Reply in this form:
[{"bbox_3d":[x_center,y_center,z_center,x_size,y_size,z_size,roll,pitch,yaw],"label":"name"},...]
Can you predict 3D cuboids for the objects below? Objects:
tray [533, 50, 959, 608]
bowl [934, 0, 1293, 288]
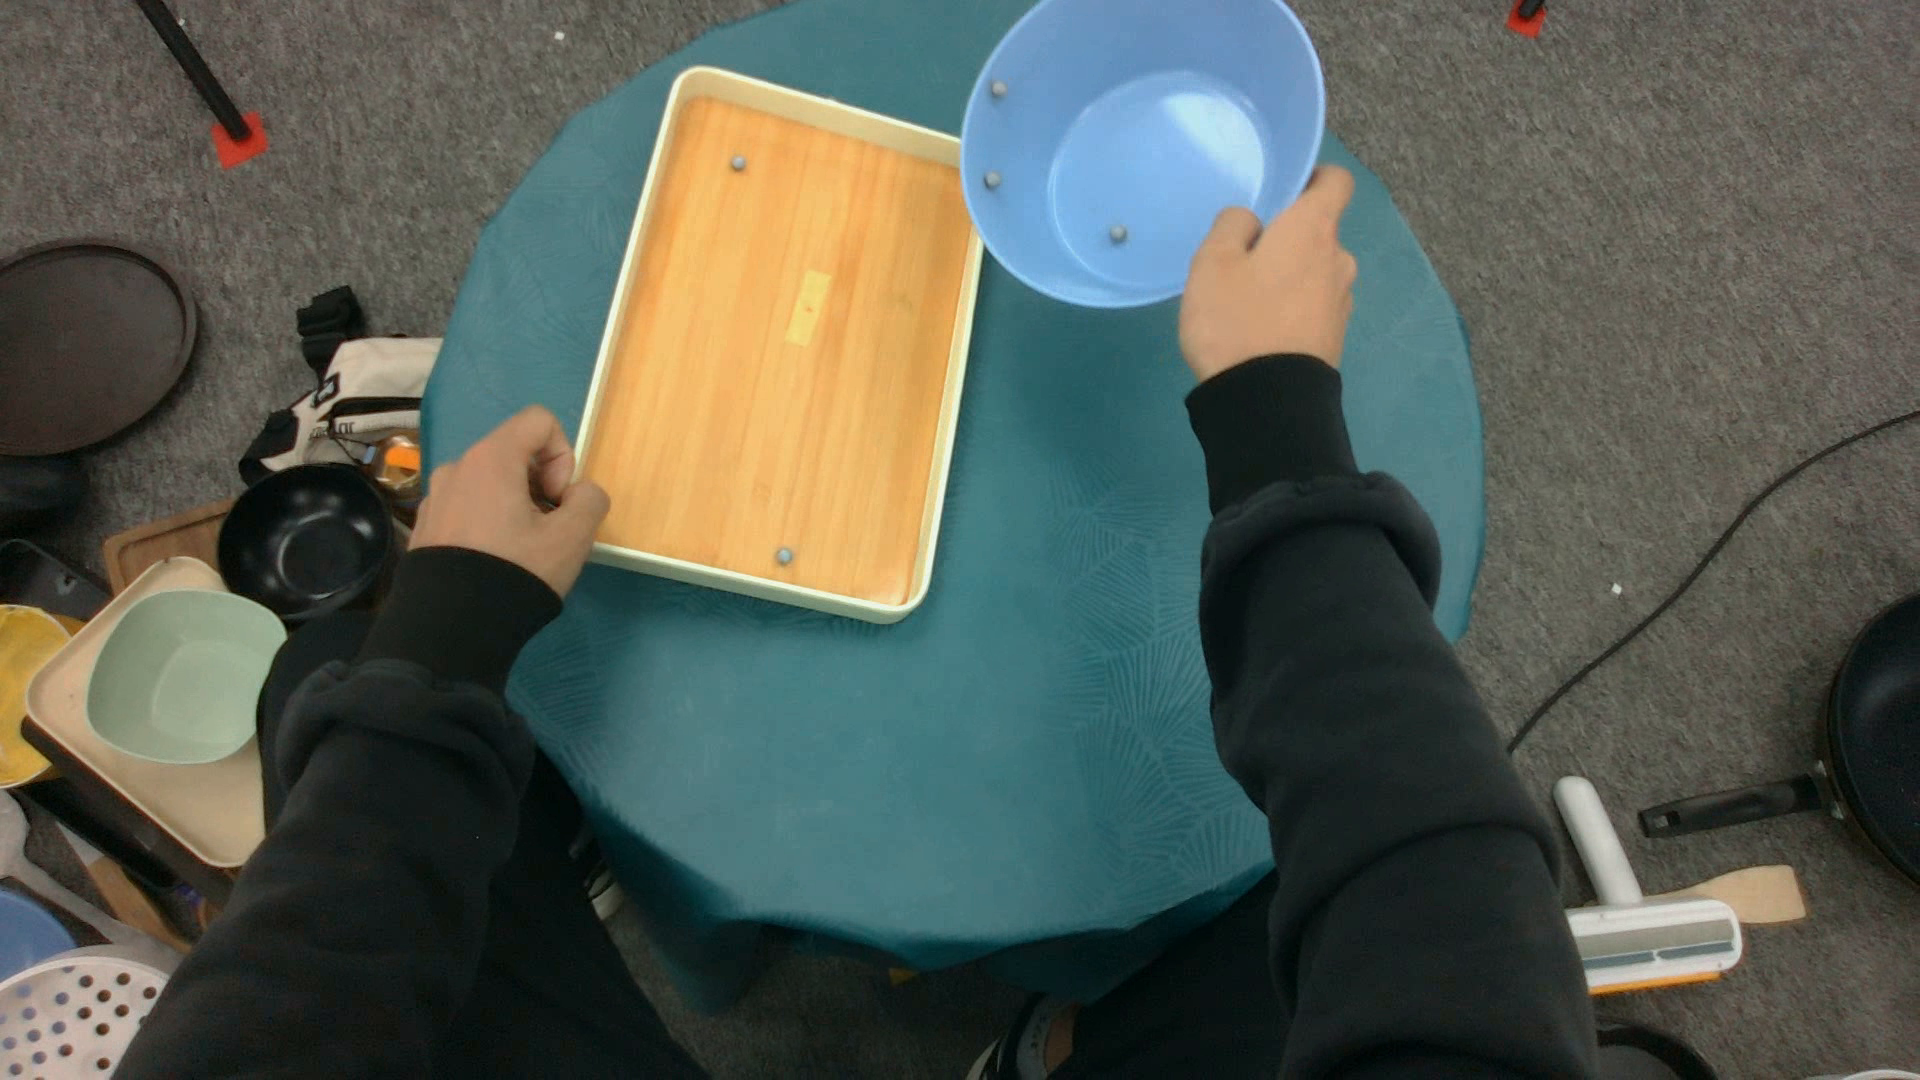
[{"bbox_3d":[-0.106,-0.121,0.756,0.192,0.027,0.301,13,67,-13],"label":"tray"},{"bbox_3d":[0.080,-0.200,0.684,0.176,0.070,0.176,-4,79,20],"label":"bowl"}]
